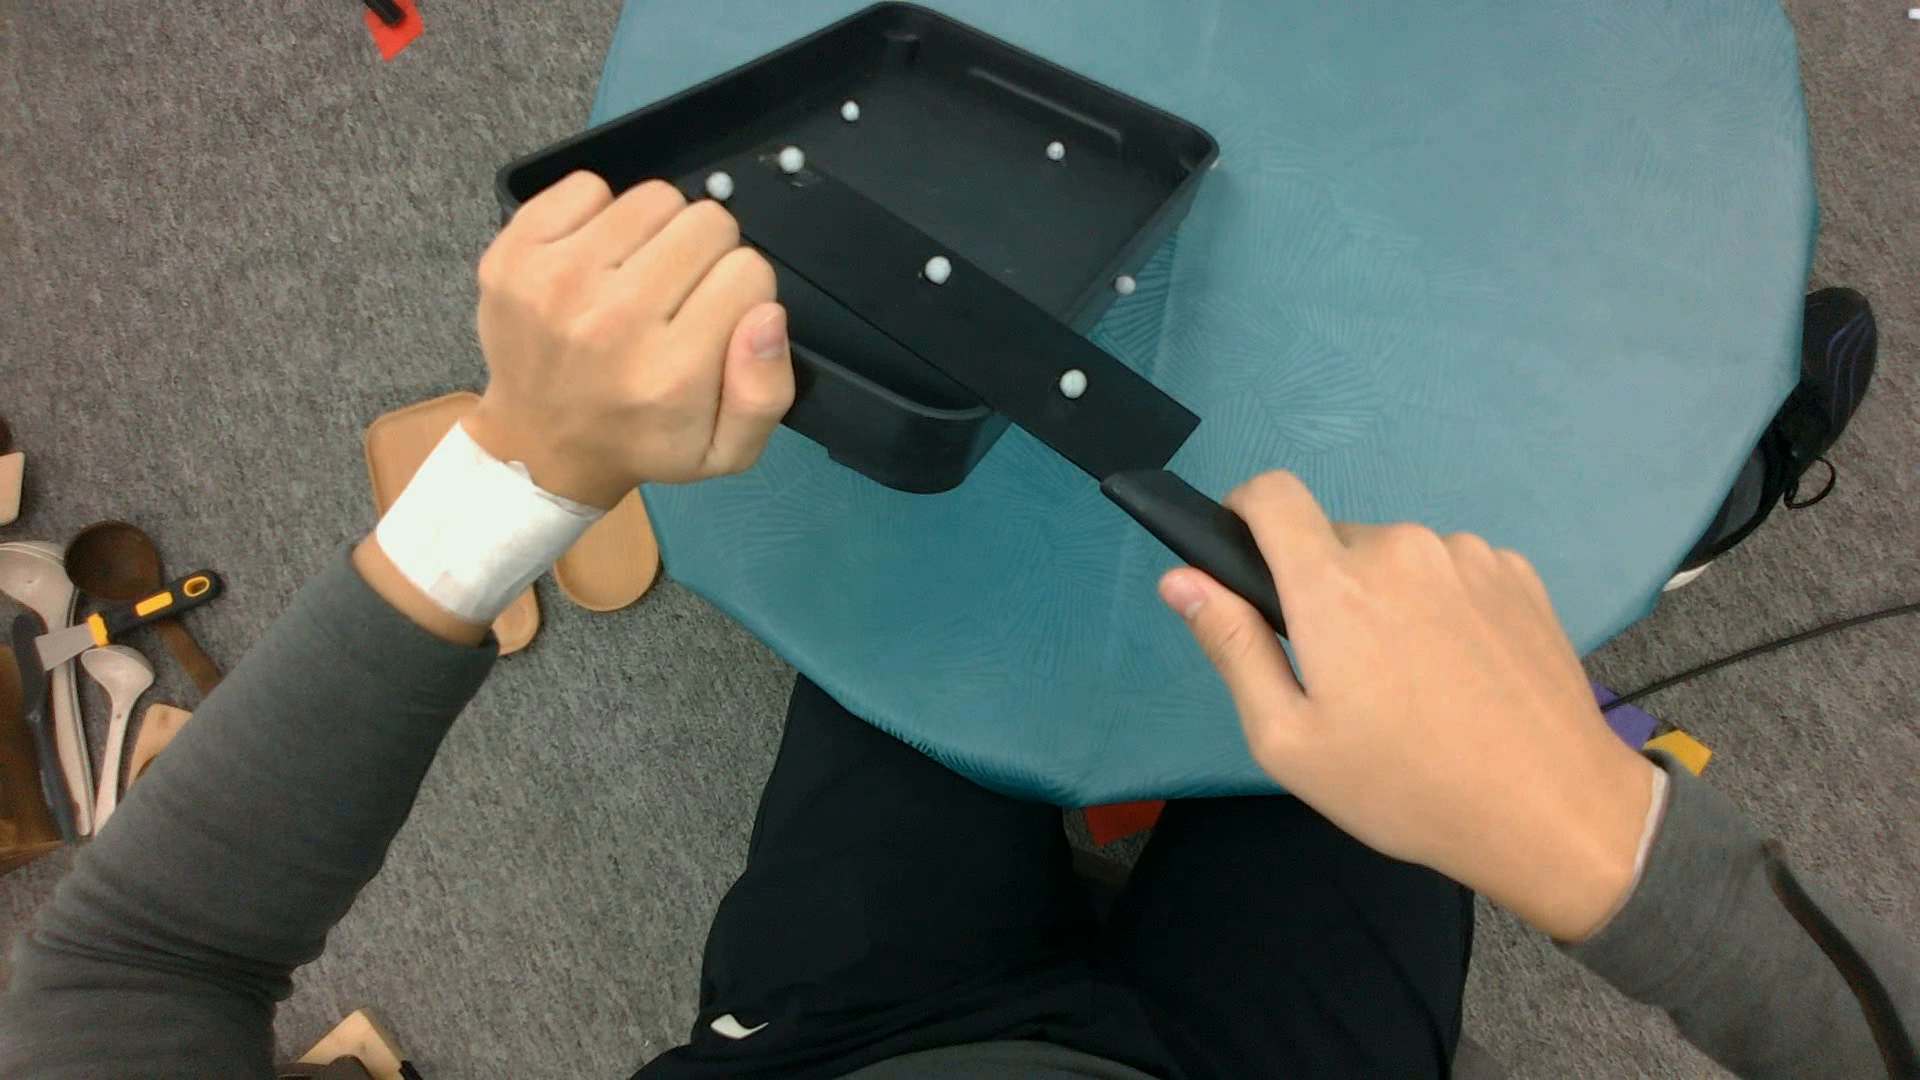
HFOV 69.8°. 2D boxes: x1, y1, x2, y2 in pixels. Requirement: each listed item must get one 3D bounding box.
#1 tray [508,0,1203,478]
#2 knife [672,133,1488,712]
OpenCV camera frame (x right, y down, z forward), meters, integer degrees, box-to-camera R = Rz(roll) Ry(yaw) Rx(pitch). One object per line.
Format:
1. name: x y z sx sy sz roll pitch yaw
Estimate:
1. tray: -0.020 -0.144 0.563 0.184 0.319 0.037 25 128 8
2. knife: 0.038 -0.045 0.446 0.302 0.081 0.021 38 131 11
